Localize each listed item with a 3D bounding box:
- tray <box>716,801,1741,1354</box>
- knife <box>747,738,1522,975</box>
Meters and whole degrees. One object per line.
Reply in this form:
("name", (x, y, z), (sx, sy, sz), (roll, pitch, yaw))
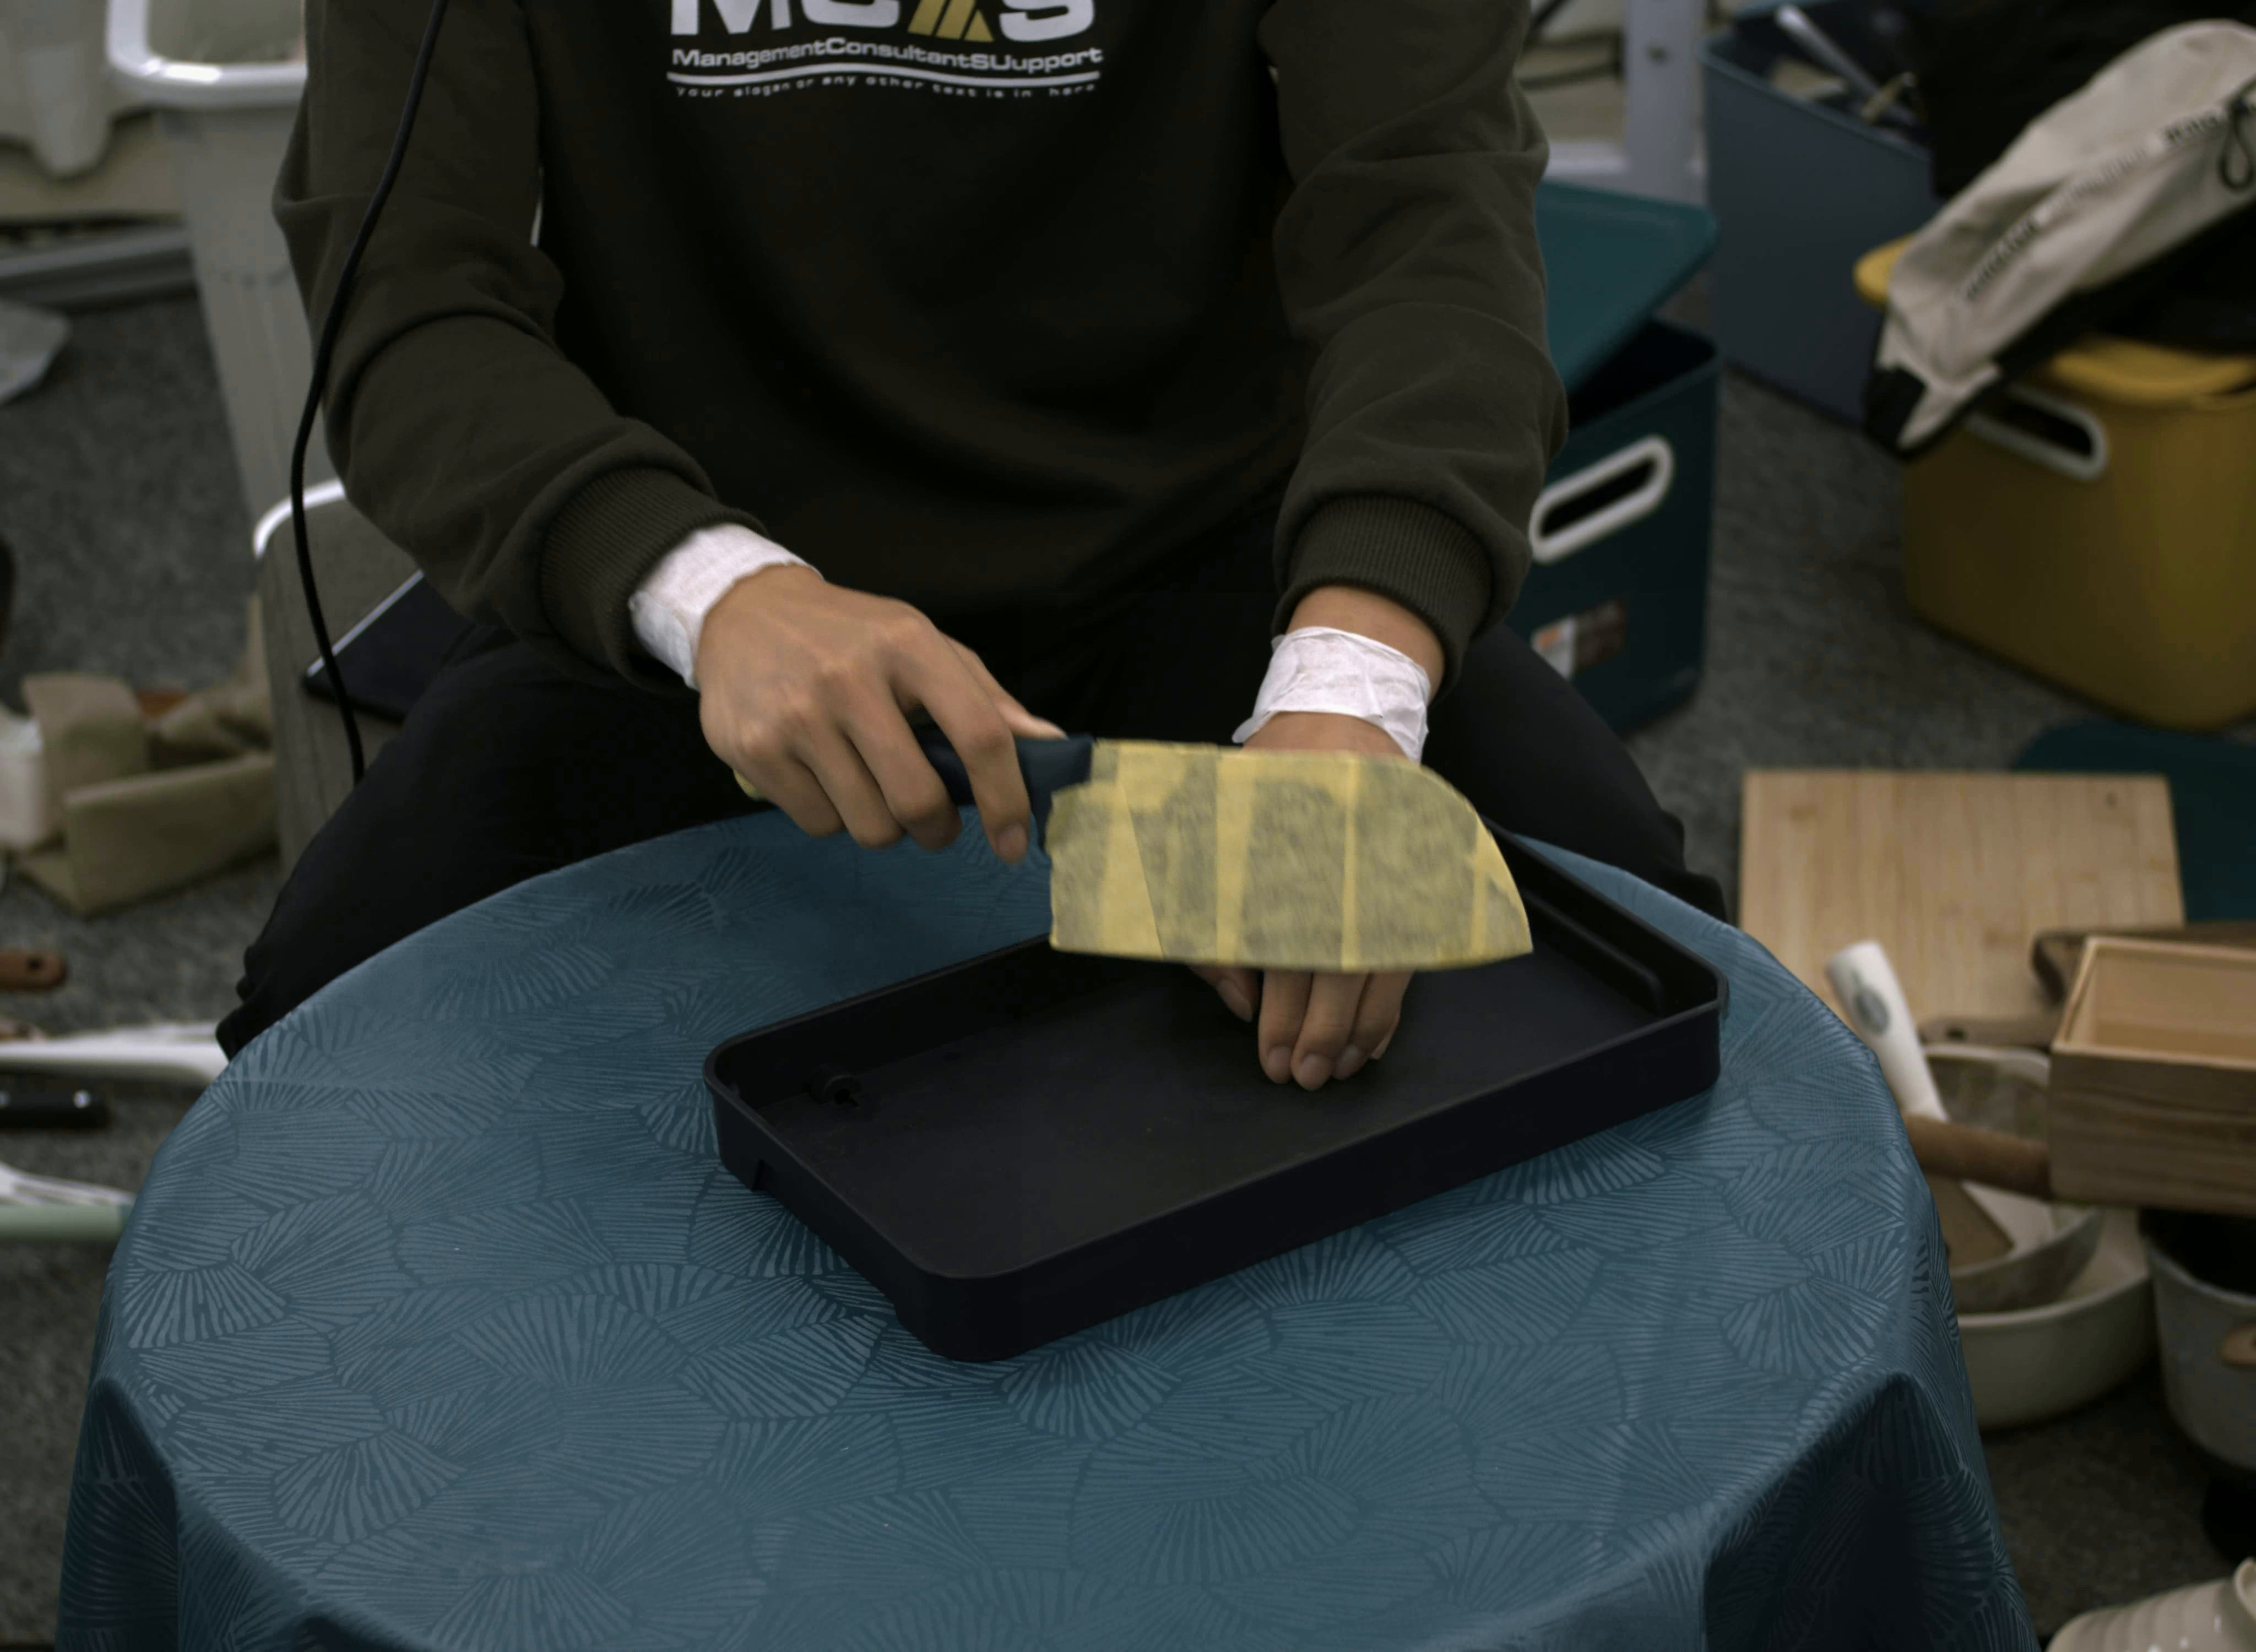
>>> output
("tray", (0.035, 0.079, 1.900), (0.320, 0.036, 0.185), (-19, 31, -29))
("knife", (-0.001, 0.009, 1.913), (0.287, 0.081, 0.027), (7, 2, 23))
